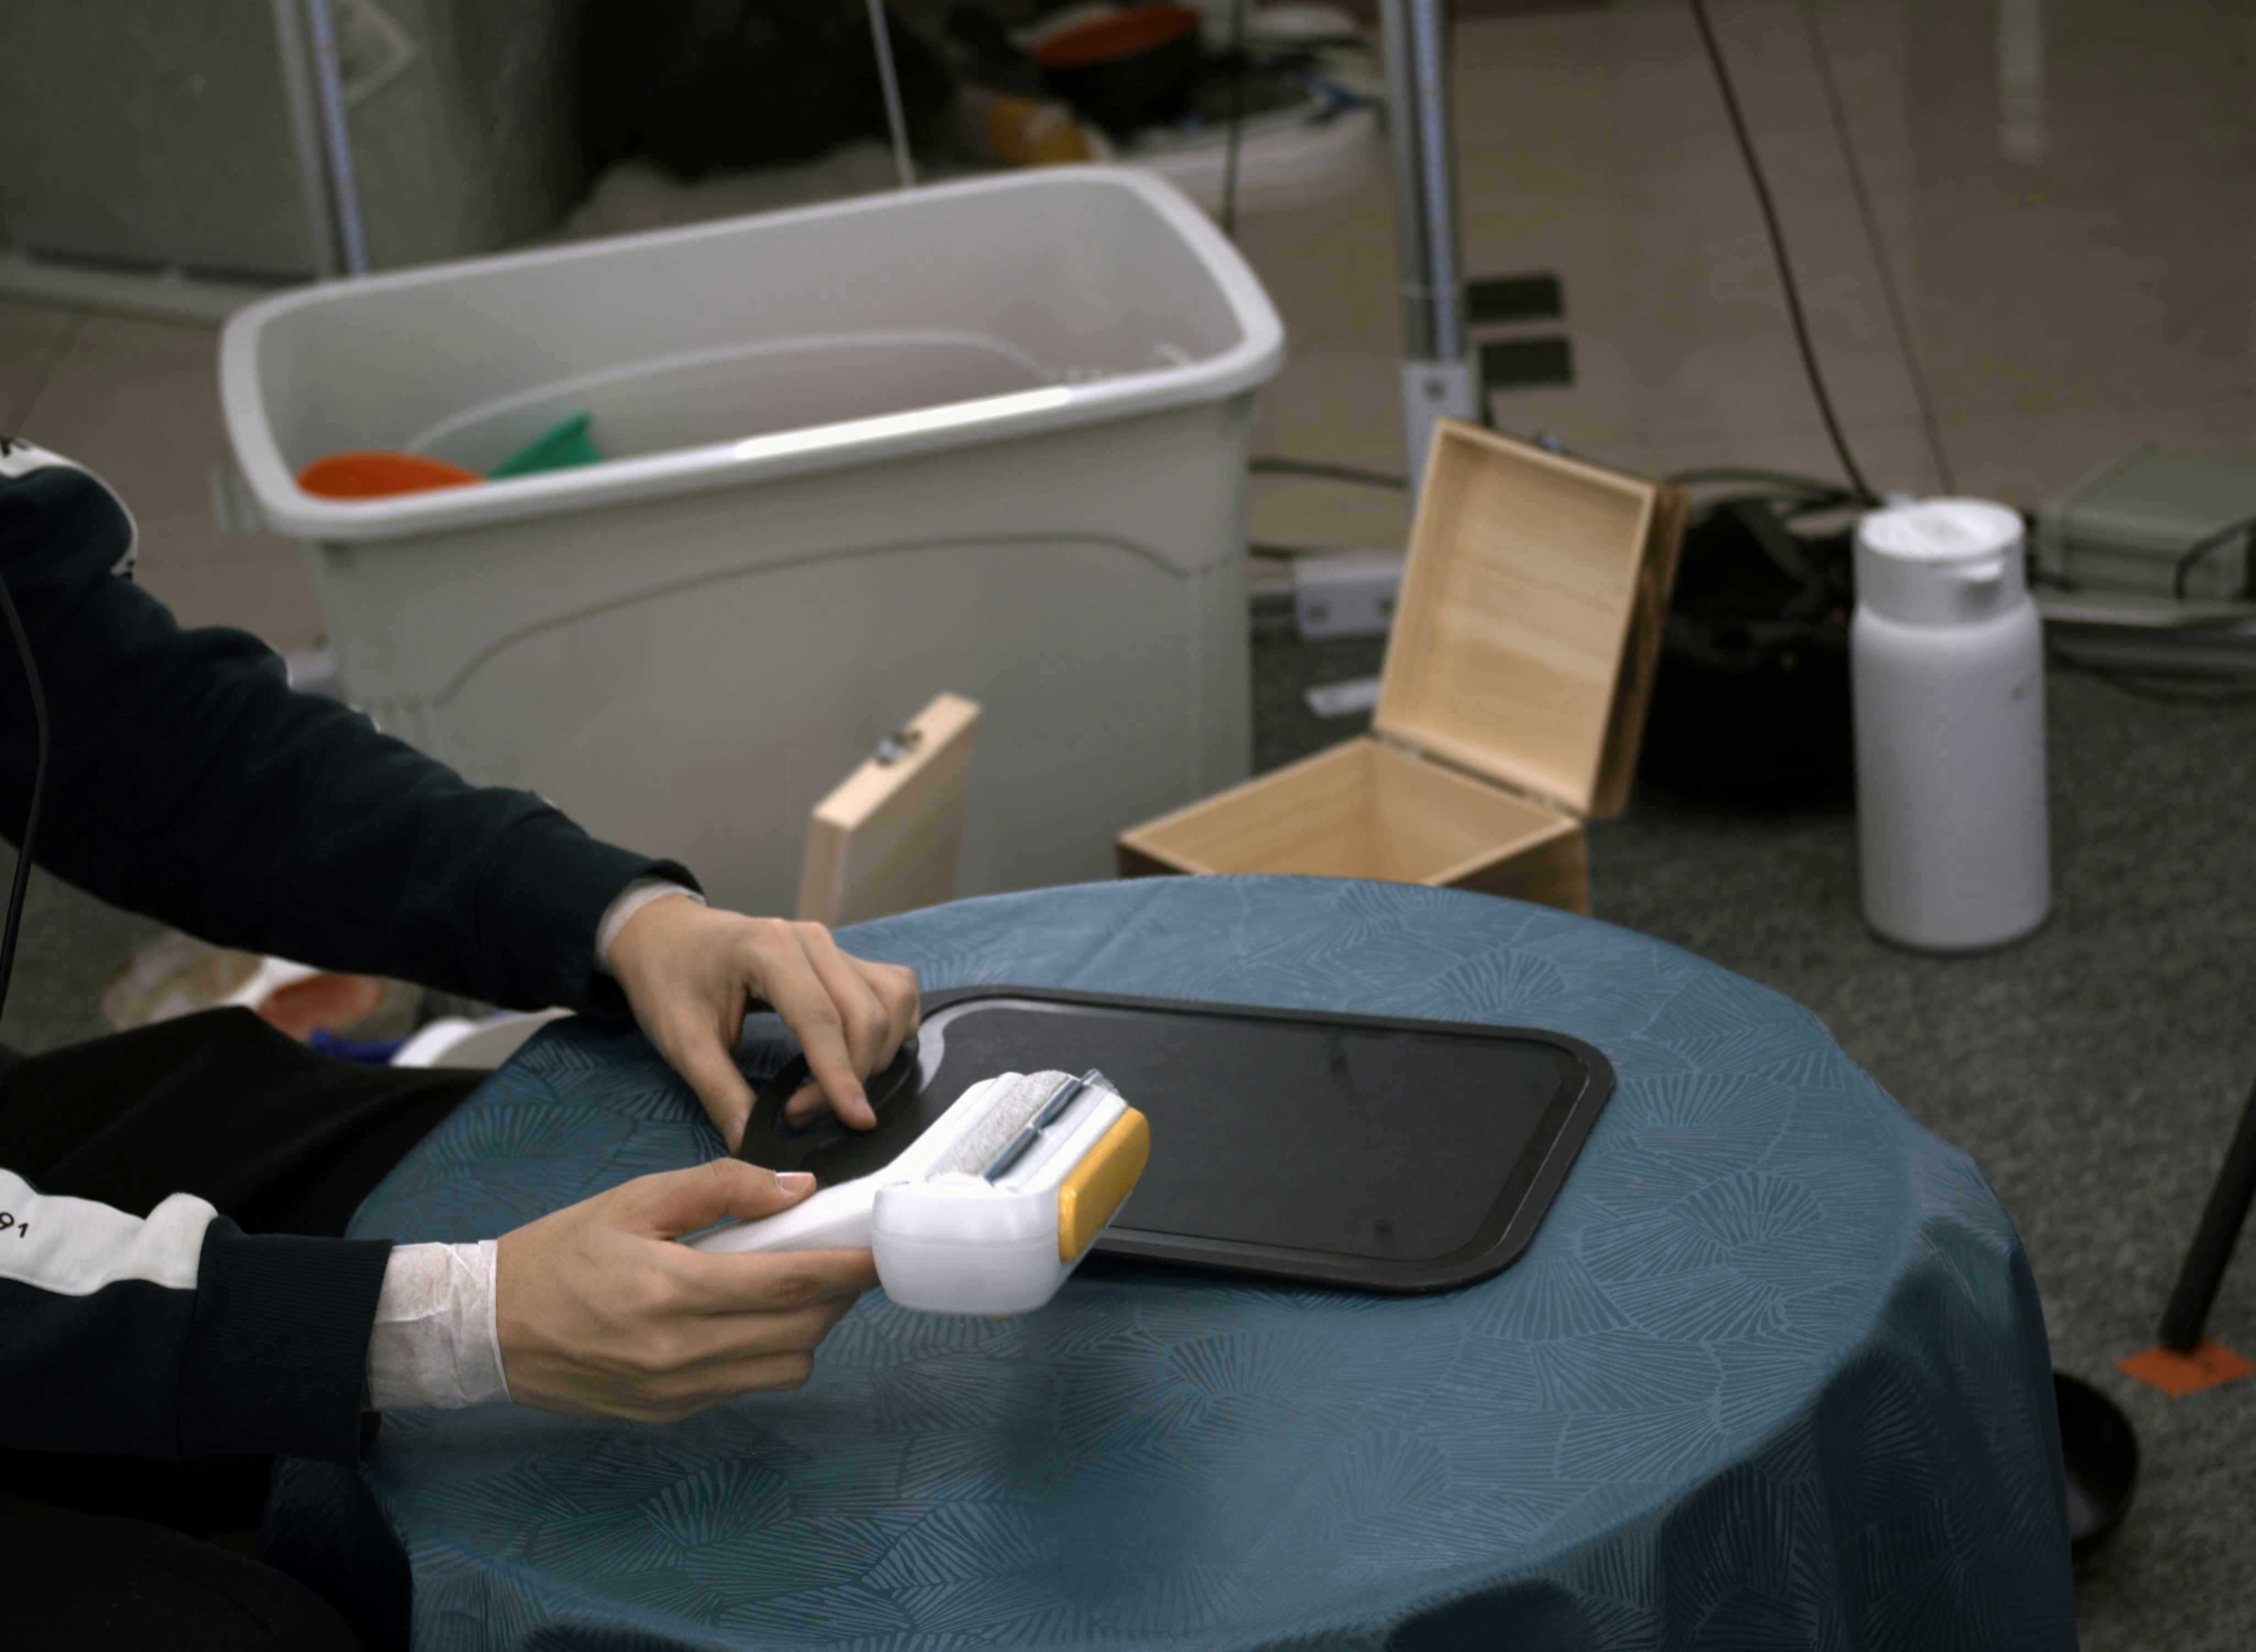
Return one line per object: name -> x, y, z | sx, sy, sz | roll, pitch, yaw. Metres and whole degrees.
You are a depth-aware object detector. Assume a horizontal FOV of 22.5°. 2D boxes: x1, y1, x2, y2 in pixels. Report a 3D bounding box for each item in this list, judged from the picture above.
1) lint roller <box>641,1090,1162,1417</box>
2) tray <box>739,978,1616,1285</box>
lint roller -> -0.093, 0.156, 2.004 | 0.193, 0.074, 0.191 | -18, 6, 19
tray -> 0.013, 0.113, 2.175 | 0.324, 0.010, 0.208 | 5, 26, 19
